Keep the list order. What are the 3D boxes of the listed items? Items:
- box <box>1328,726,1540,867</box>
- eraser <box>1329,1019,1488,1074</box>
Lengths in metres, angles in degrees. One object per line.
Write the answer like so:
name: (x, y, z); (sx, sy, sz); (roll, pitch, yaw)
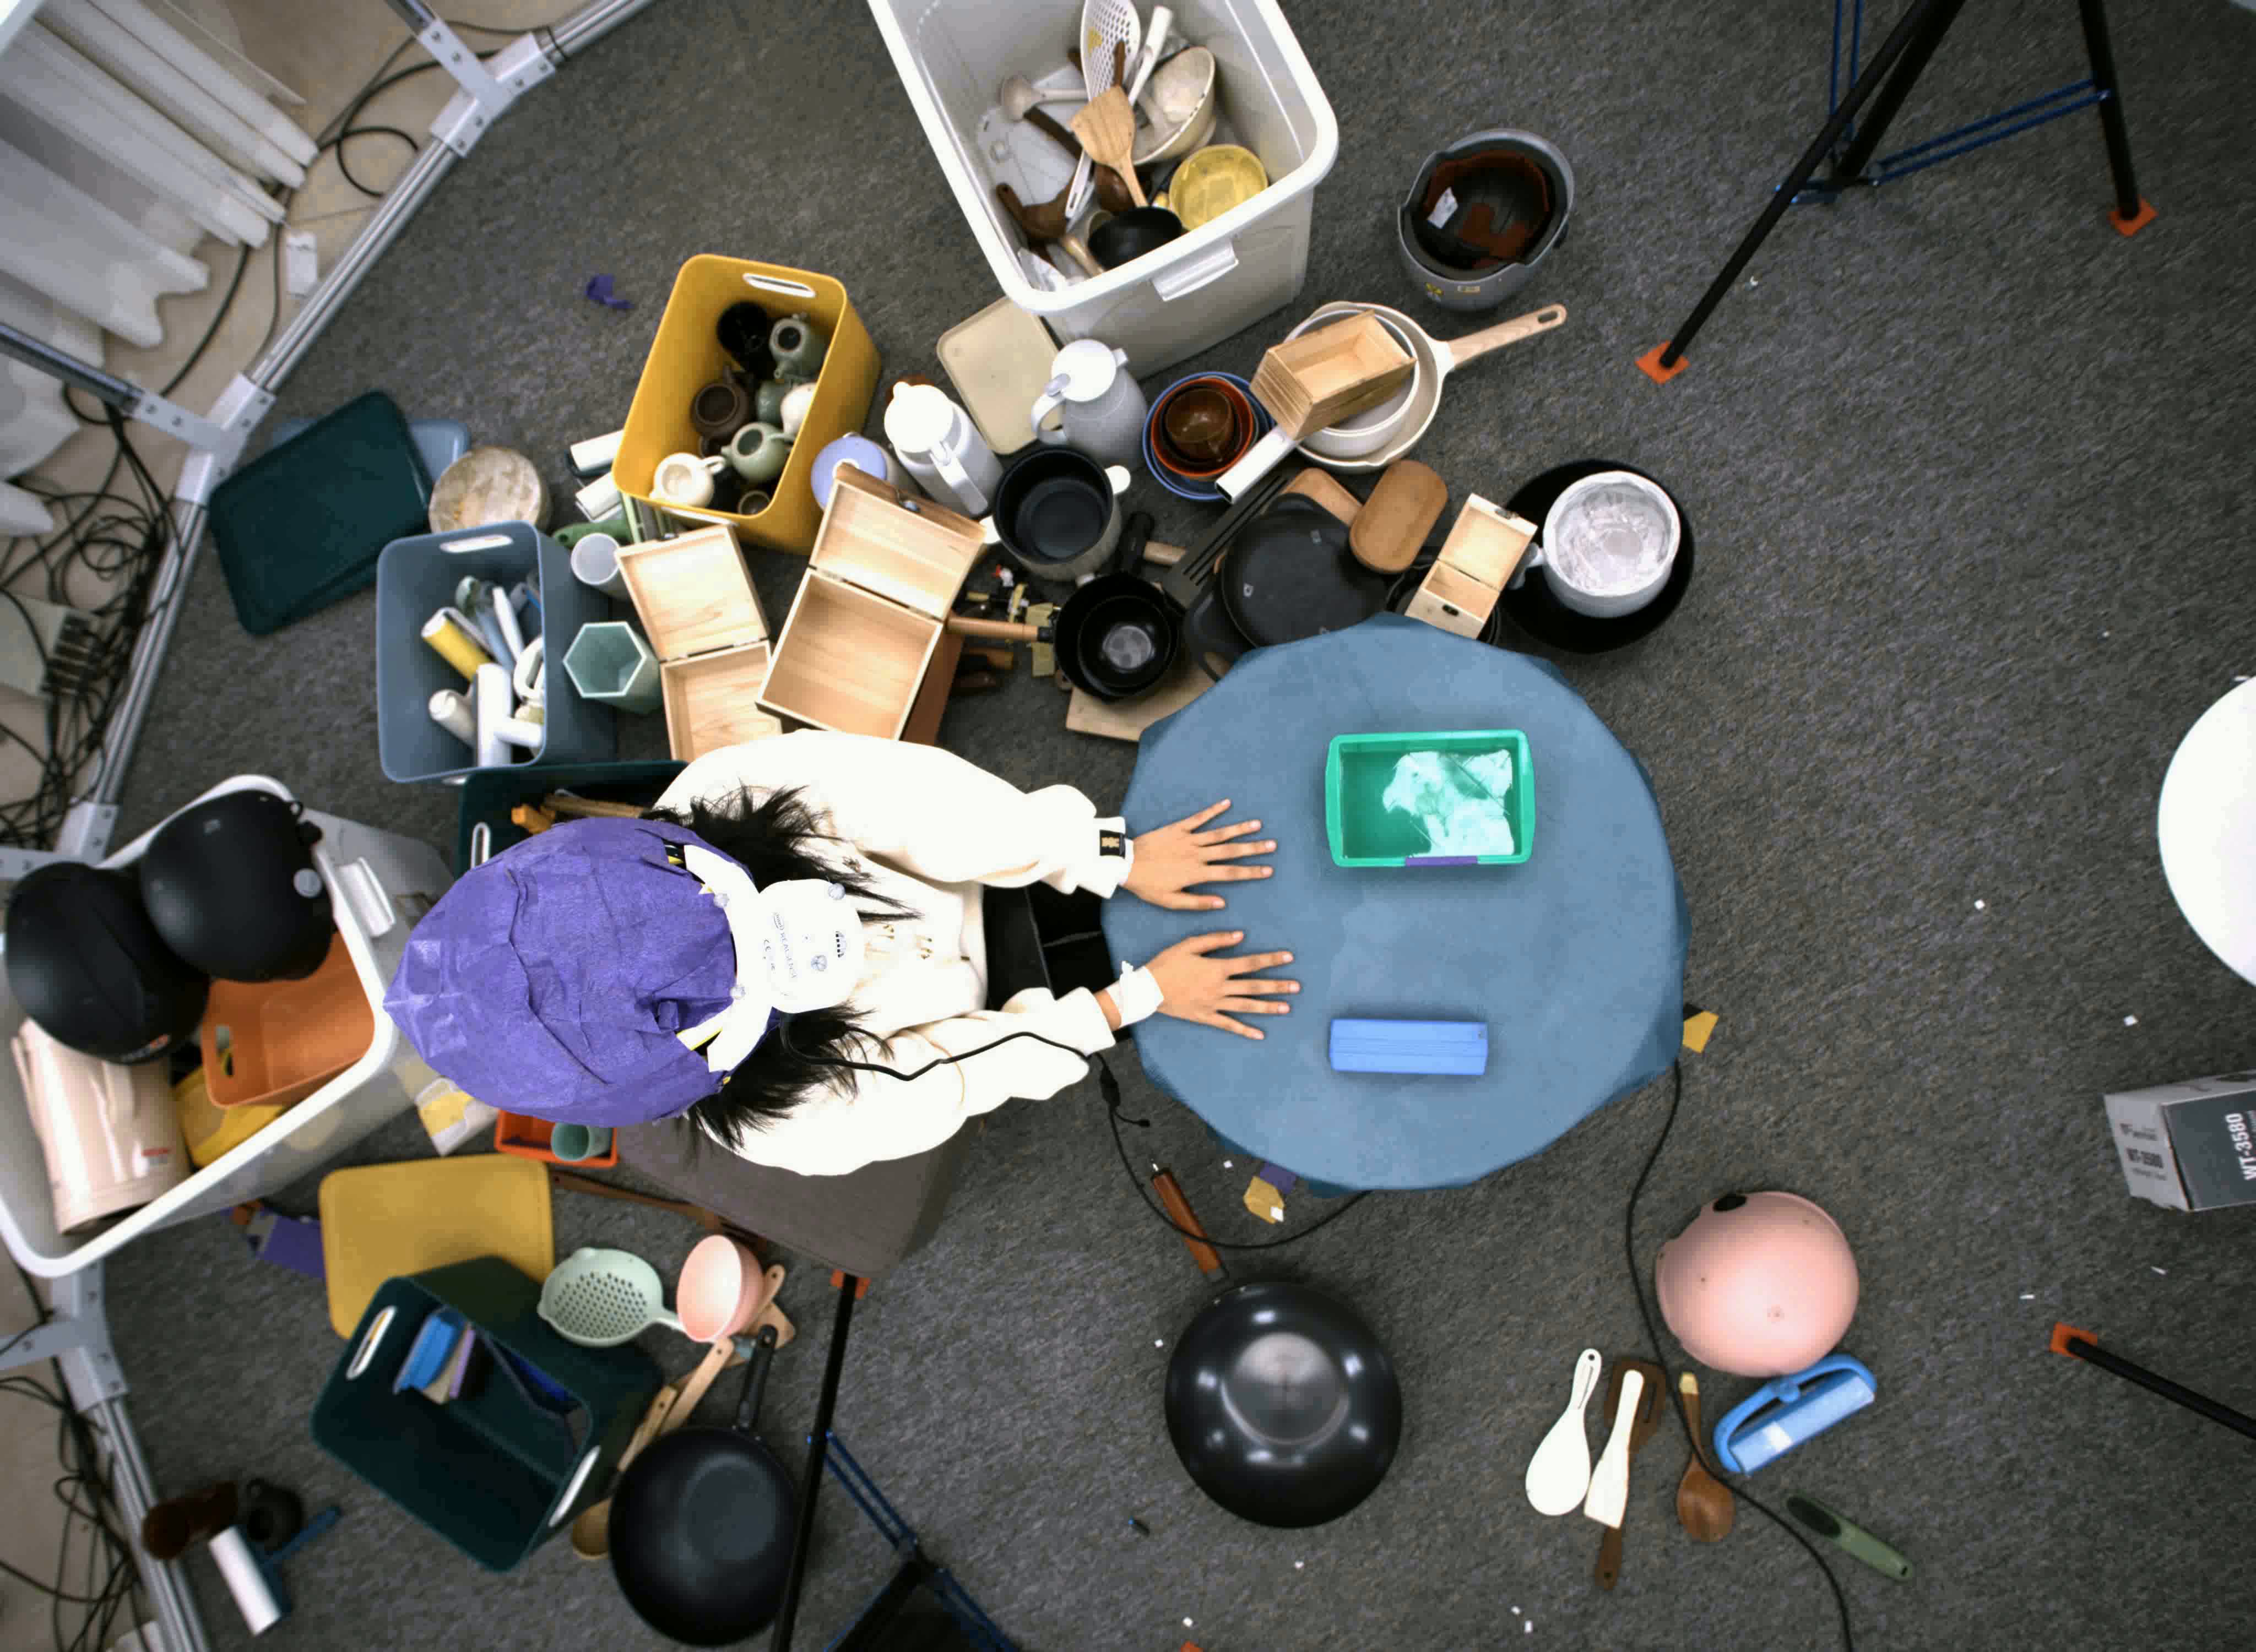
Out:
box: (0.314, -0.029, 1.426); (0.211, 0.065, 0.138); (-3, 88, 10)
eraser: (0.289, 0.226, 1.425); (0.163, 0.047, 0.053); (0, 85, 10)
